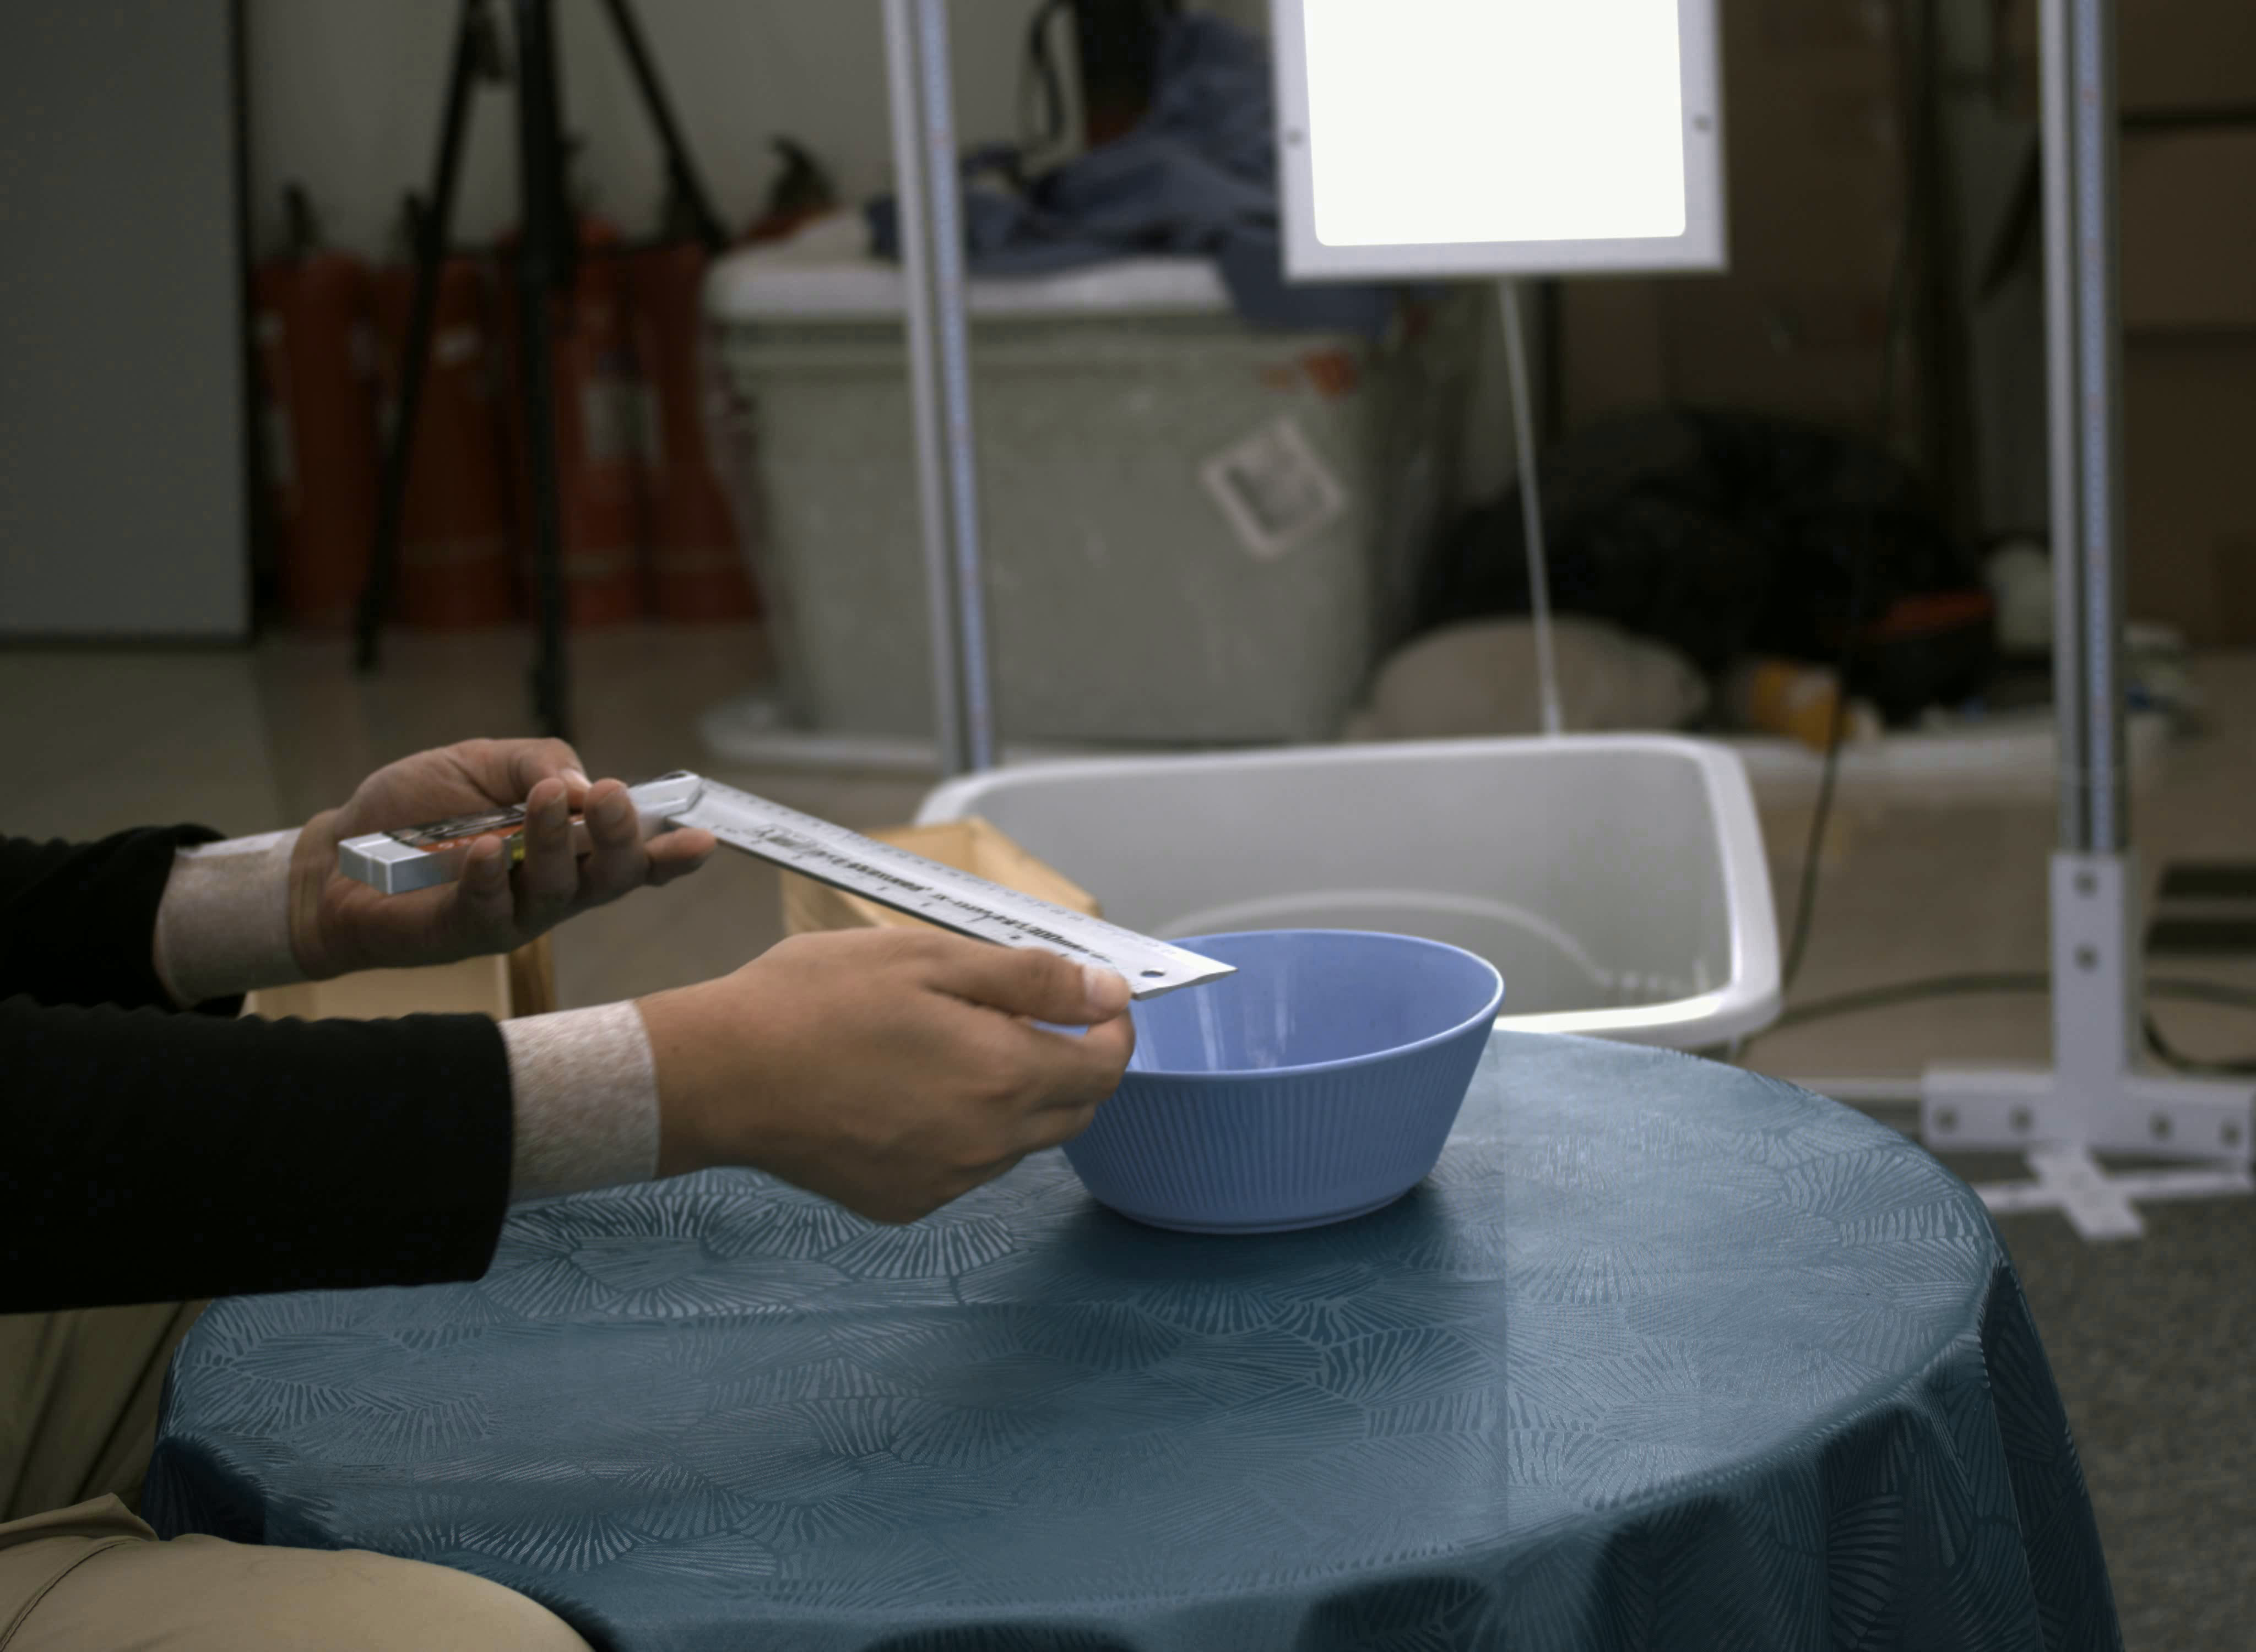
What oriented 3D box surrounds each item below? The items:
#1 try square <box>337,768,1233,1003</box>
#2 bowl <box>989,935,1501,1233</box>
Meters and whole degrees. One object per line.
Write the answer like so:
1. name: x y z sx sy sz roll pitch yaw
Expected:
1. try square: -0.119 0.031 1.815 0.149 0.016 0.319 -18 21 -32
2. bowl: 0.042 0.090 1.884 0.175 0.070 0.176 -5 14 0
